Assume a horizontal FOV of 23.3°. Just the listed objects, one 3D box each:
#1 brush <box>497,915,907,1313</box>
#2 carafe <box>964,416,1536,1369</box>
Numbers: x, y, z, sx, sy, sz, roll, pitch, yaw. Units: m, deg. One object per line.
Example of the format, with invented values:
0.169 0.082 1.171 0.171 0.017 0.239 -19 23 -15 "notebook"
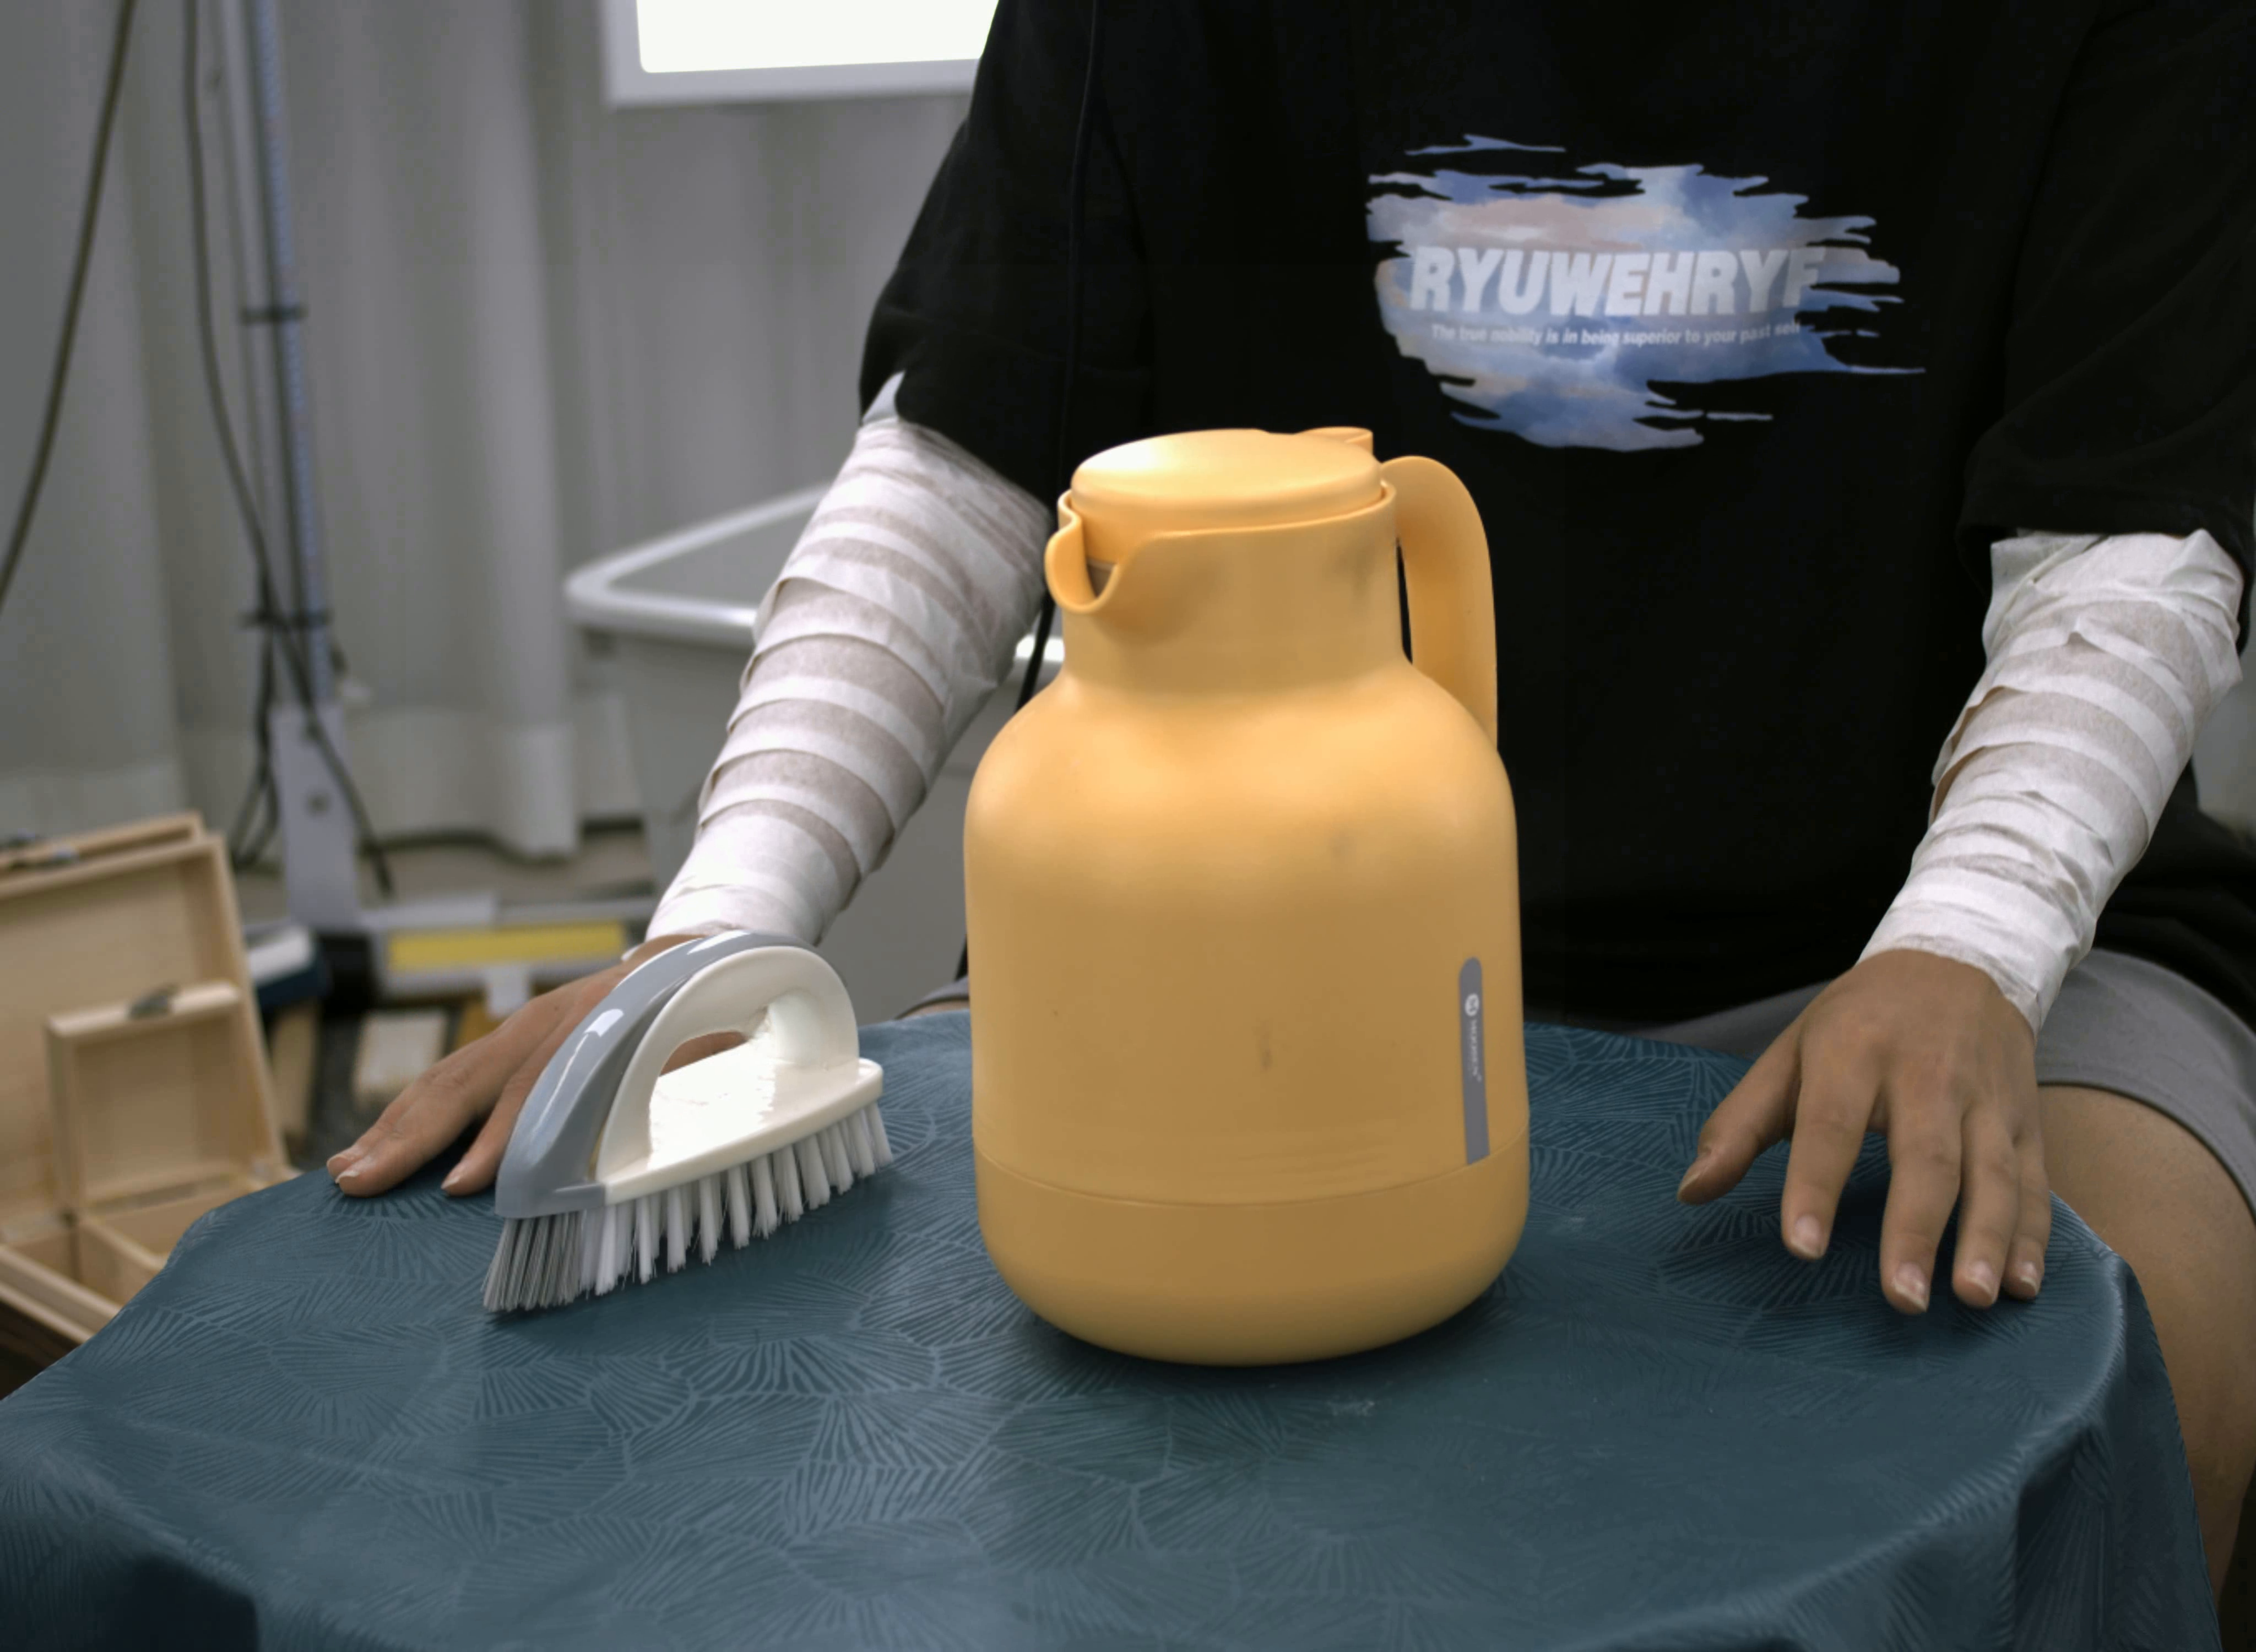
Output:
-0.139 0.084 1.679 0.061 0.094 0.175 5 17 33 "brush"
0.046 0.011 1.591 0.164 0.259 0.202 10 20 37 "carafe"
